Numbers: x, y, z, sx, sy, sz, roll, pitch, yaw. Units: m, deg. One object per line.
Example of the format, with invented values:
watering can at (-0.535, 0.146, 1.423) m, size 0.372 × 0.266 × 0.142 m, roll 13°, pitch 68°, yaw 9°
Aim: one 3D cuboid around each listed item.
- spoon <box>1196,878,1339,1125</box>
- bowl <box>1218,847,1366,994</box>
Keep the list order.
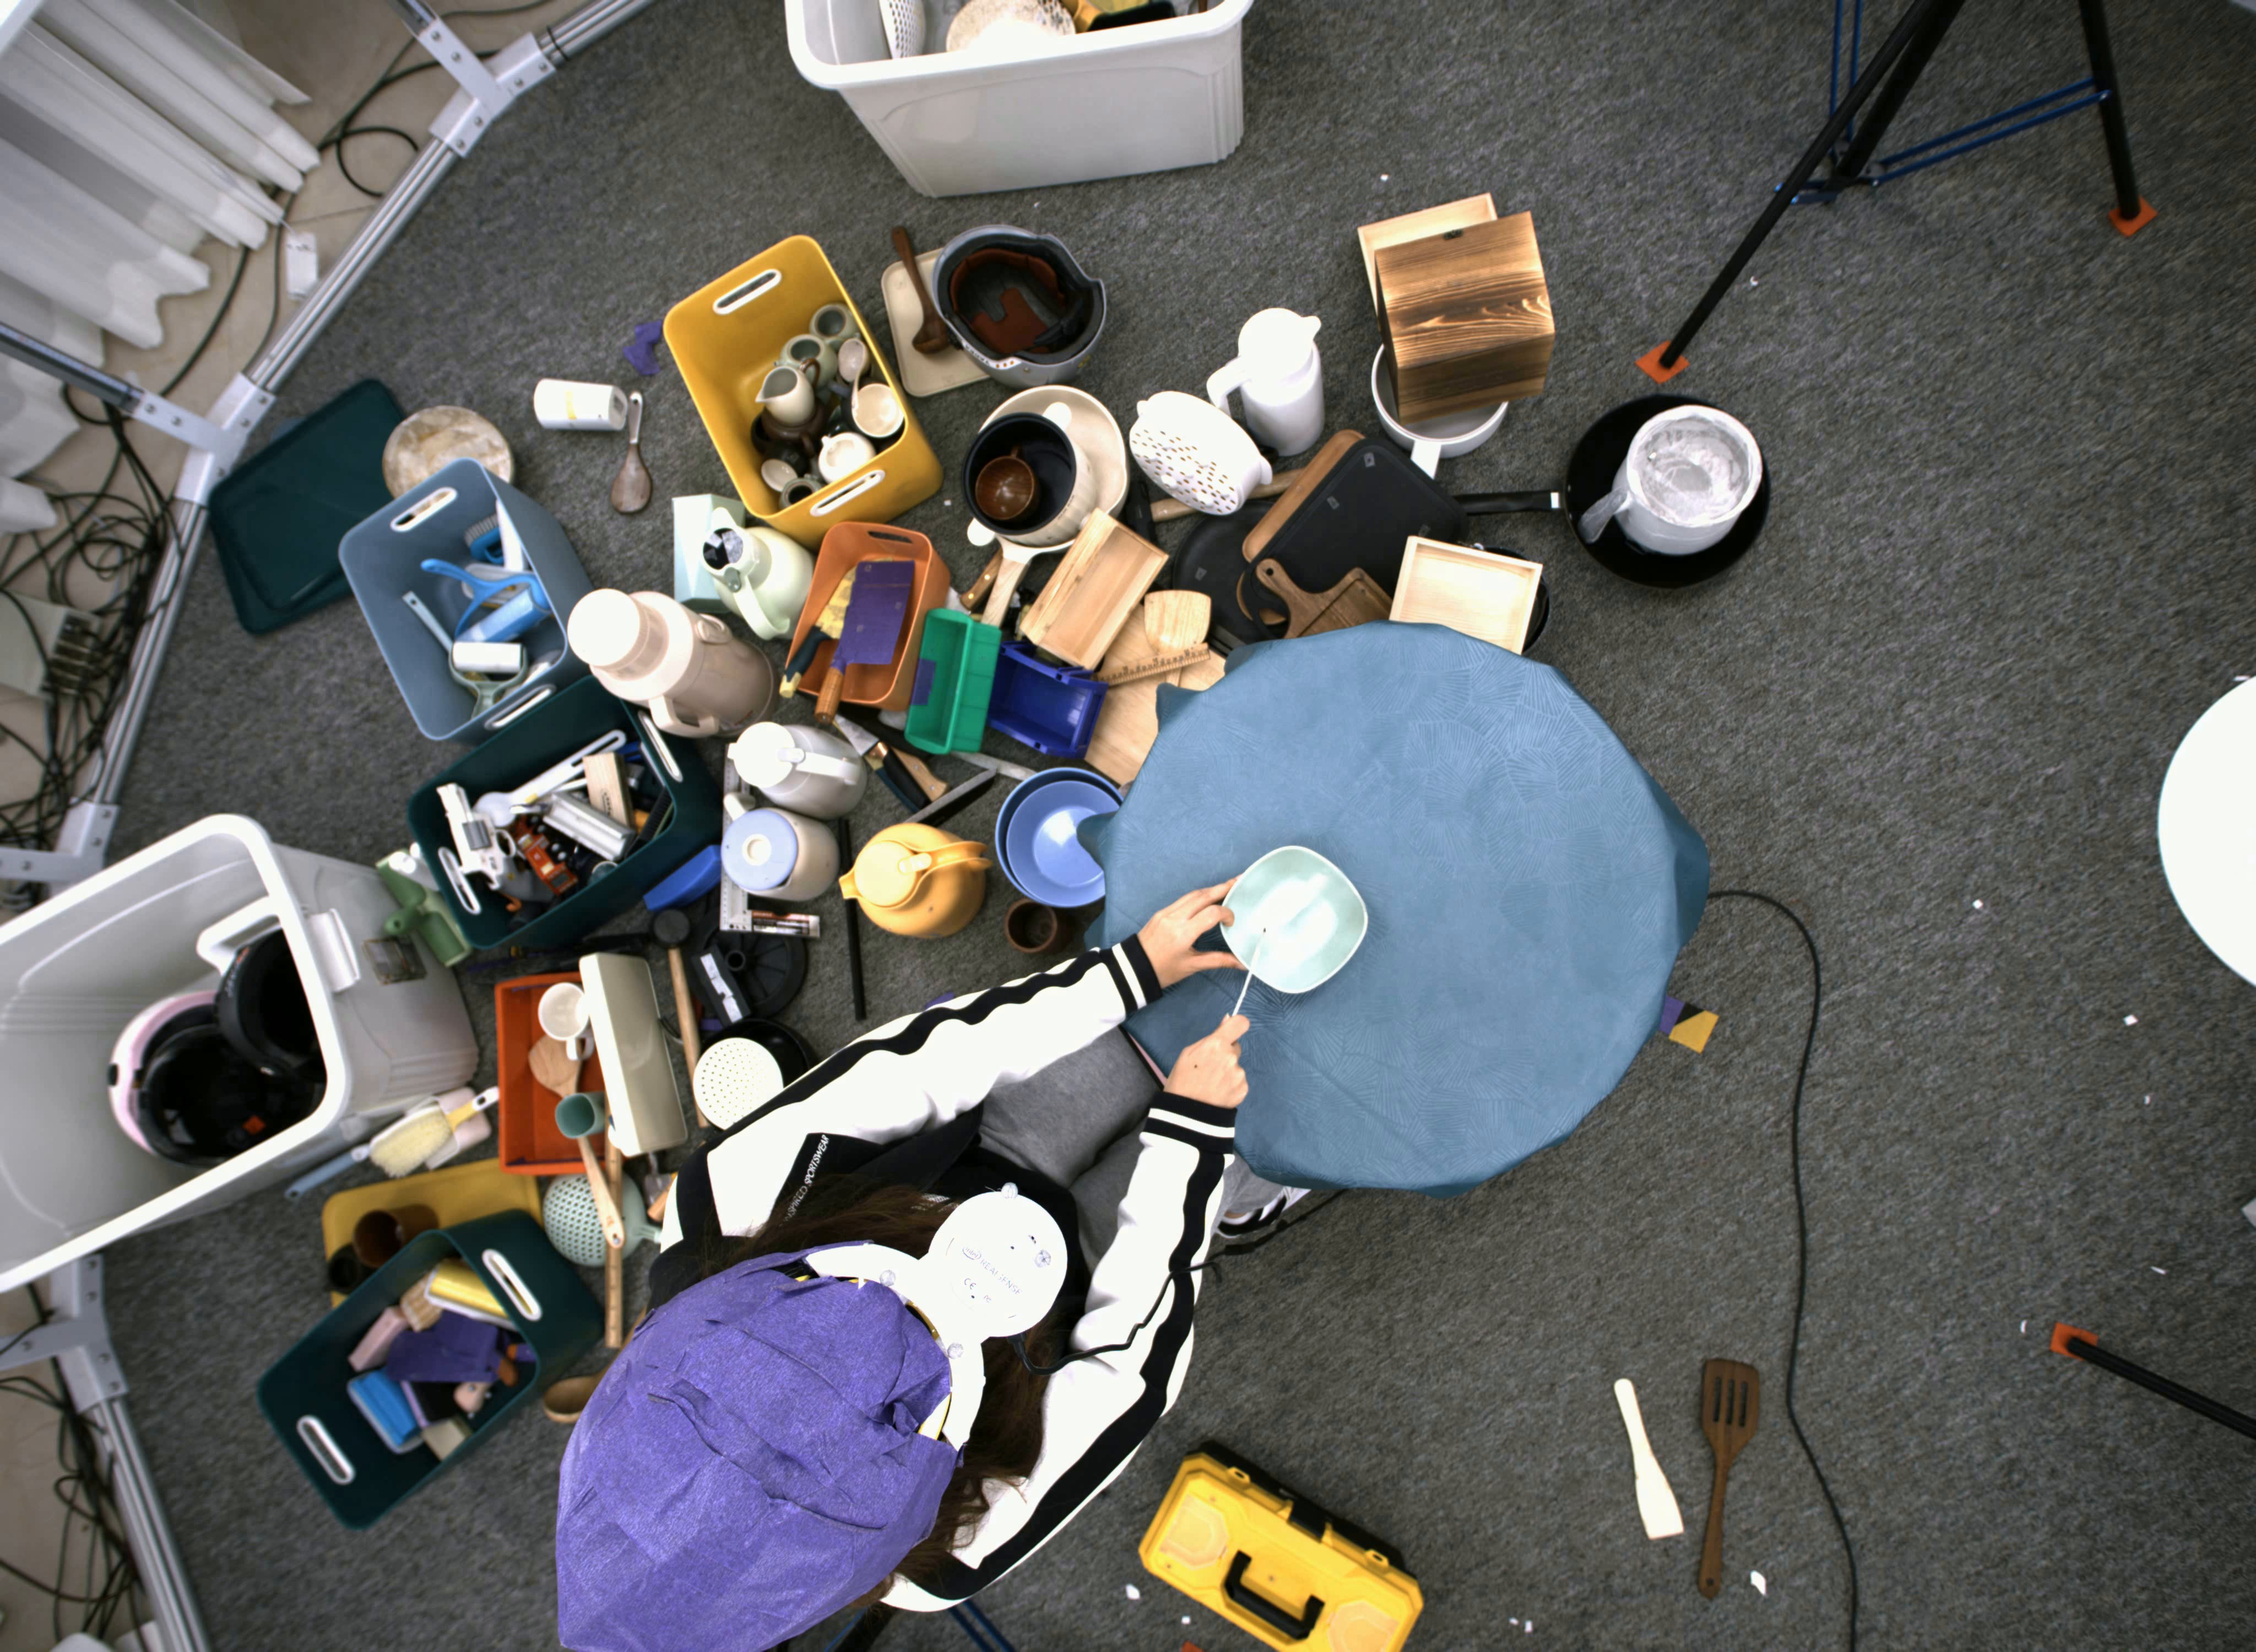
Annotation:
spoon at (0.140, 0.174, 1.387) m, size 0.059 × 0.101 × 0.276 m, roll 19°, pitch 85°, yaw 9°
bowl at (0.172, 0.099, 1.449) m, size 0.152 × 0.059 × 0.150 m, roll -1°, pitch 85°, yaw 9°
